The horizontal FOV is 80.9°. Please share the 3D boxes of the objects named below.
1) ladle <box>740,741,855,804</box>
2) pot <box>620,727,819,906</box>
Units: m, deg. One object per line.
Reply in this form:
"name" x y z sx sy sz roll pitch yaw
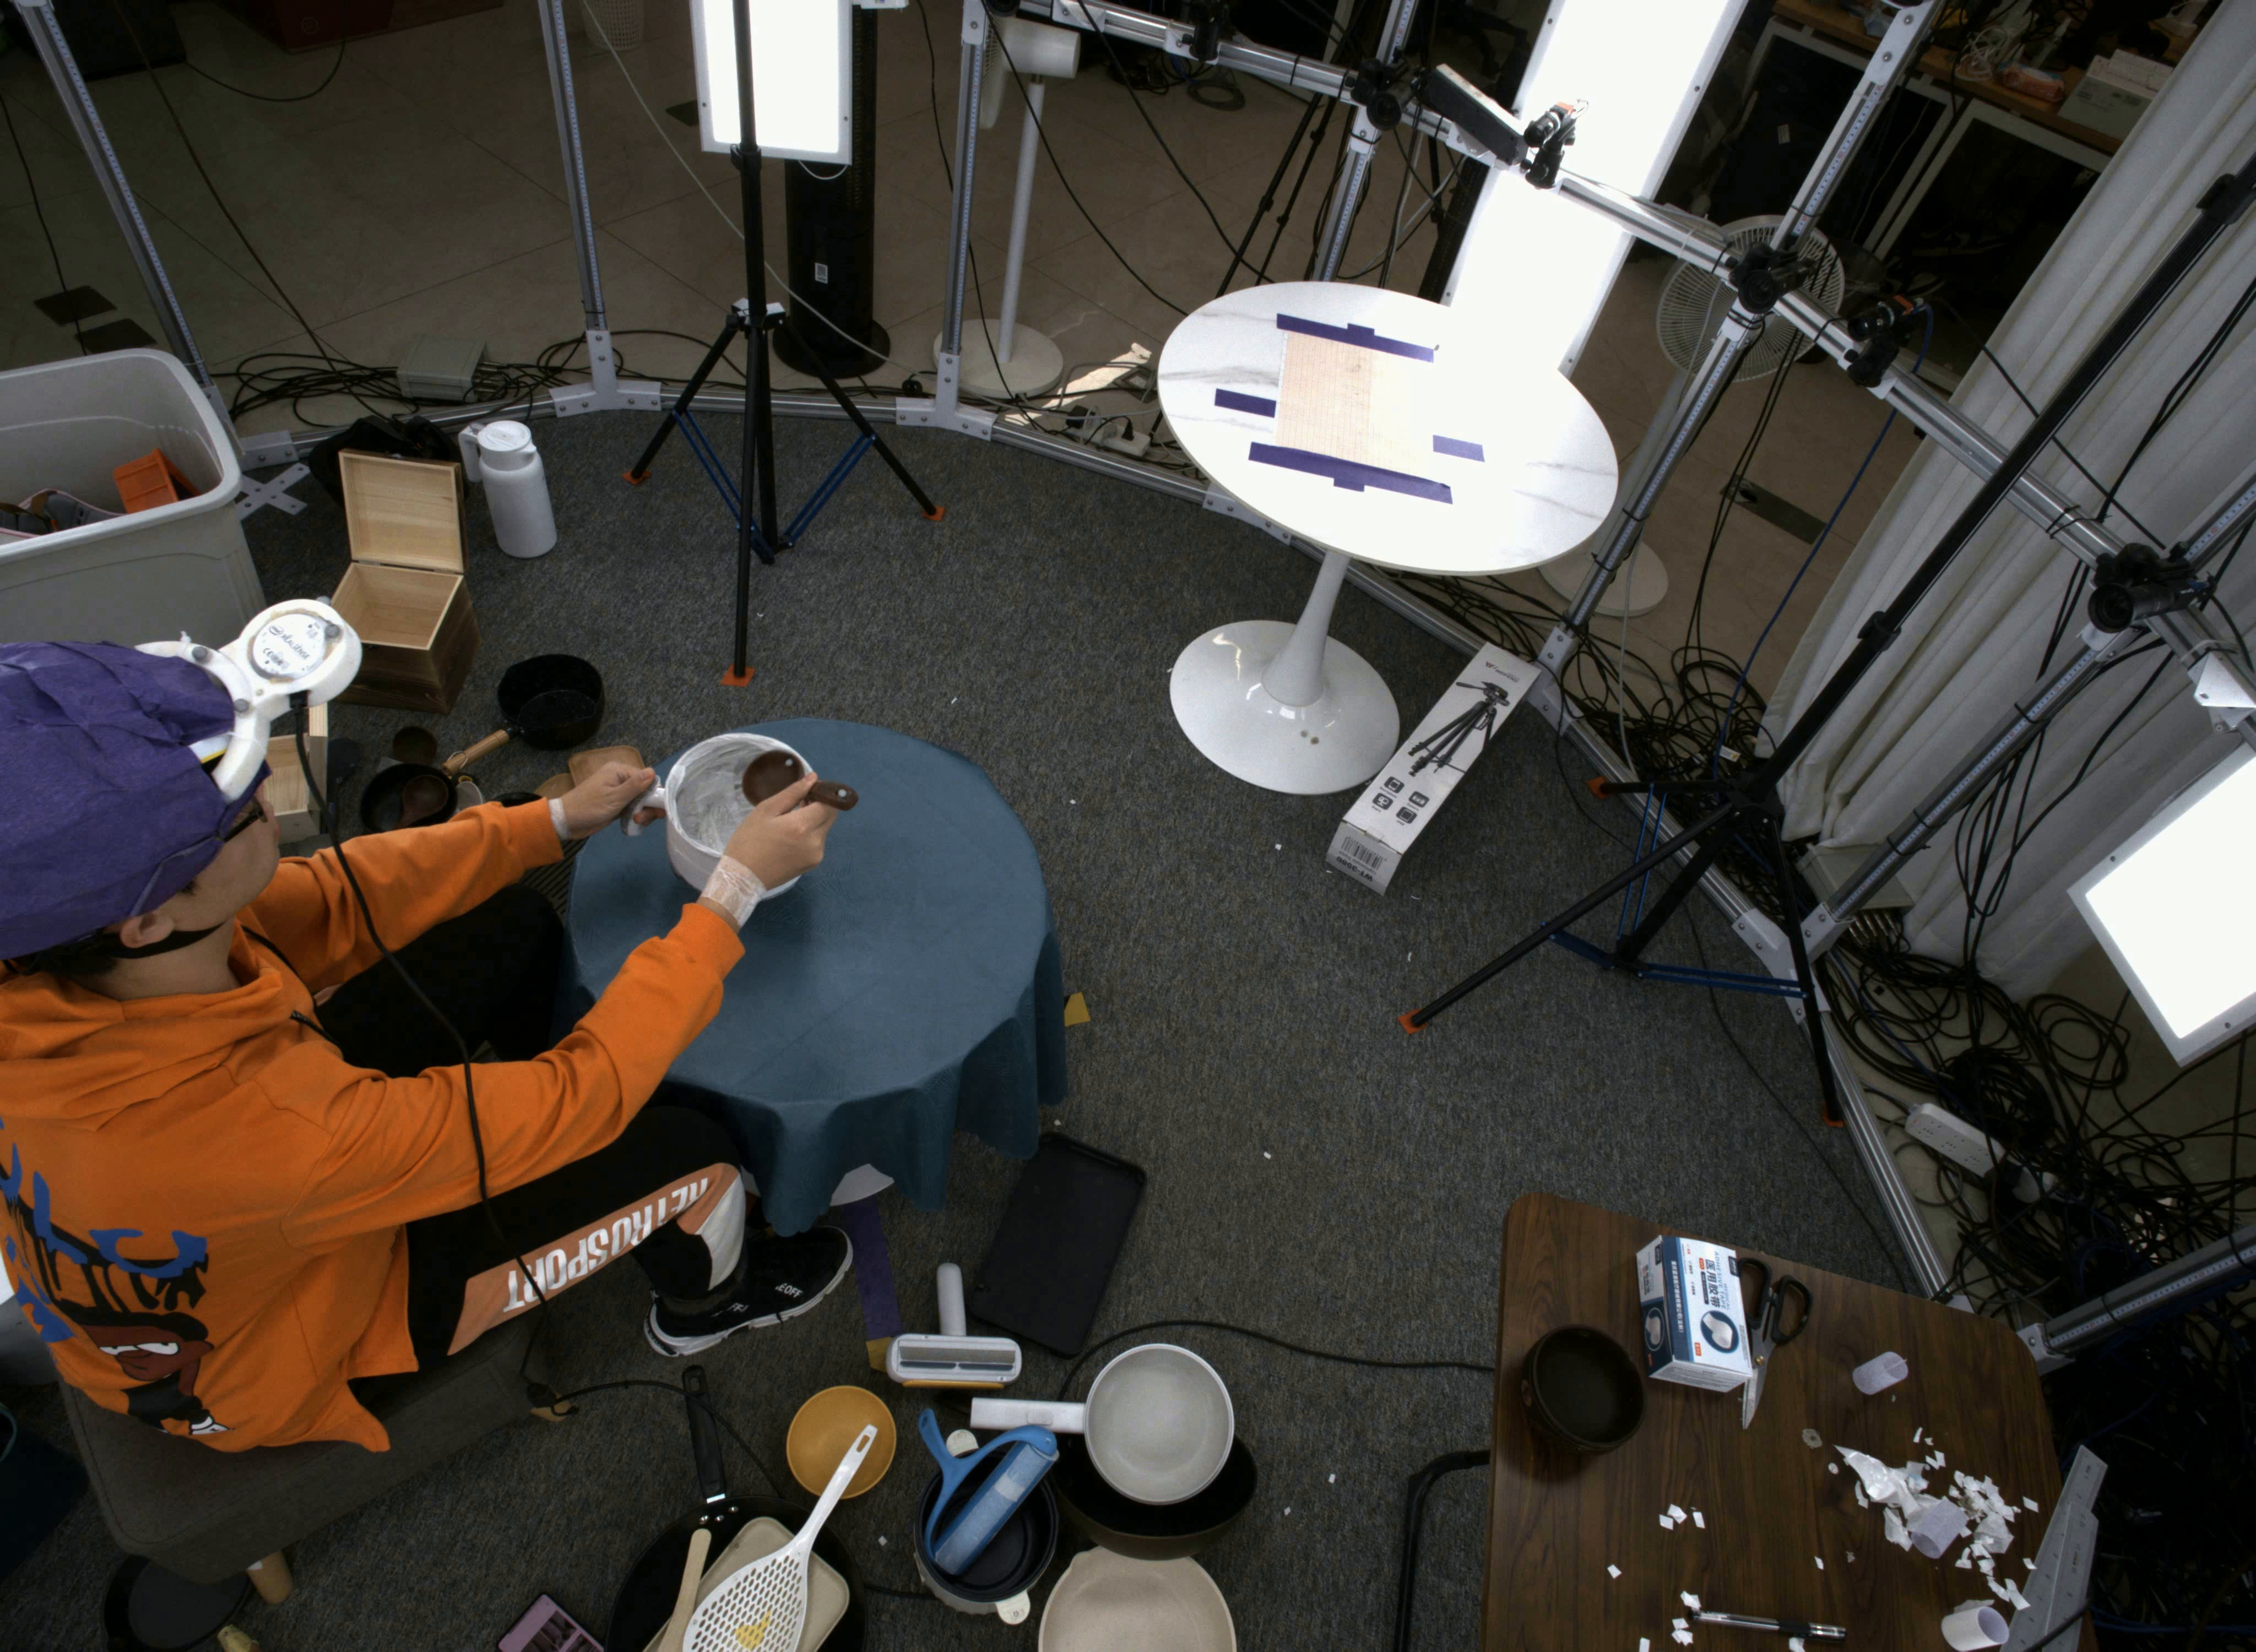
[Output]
"ladle" -0.356 -0.055 1.384 0.067 0.253 0.076 38 74 -25
"pot" -0.488 -0.010 1.532 0.235 0.138 0.176 8 56 -15
